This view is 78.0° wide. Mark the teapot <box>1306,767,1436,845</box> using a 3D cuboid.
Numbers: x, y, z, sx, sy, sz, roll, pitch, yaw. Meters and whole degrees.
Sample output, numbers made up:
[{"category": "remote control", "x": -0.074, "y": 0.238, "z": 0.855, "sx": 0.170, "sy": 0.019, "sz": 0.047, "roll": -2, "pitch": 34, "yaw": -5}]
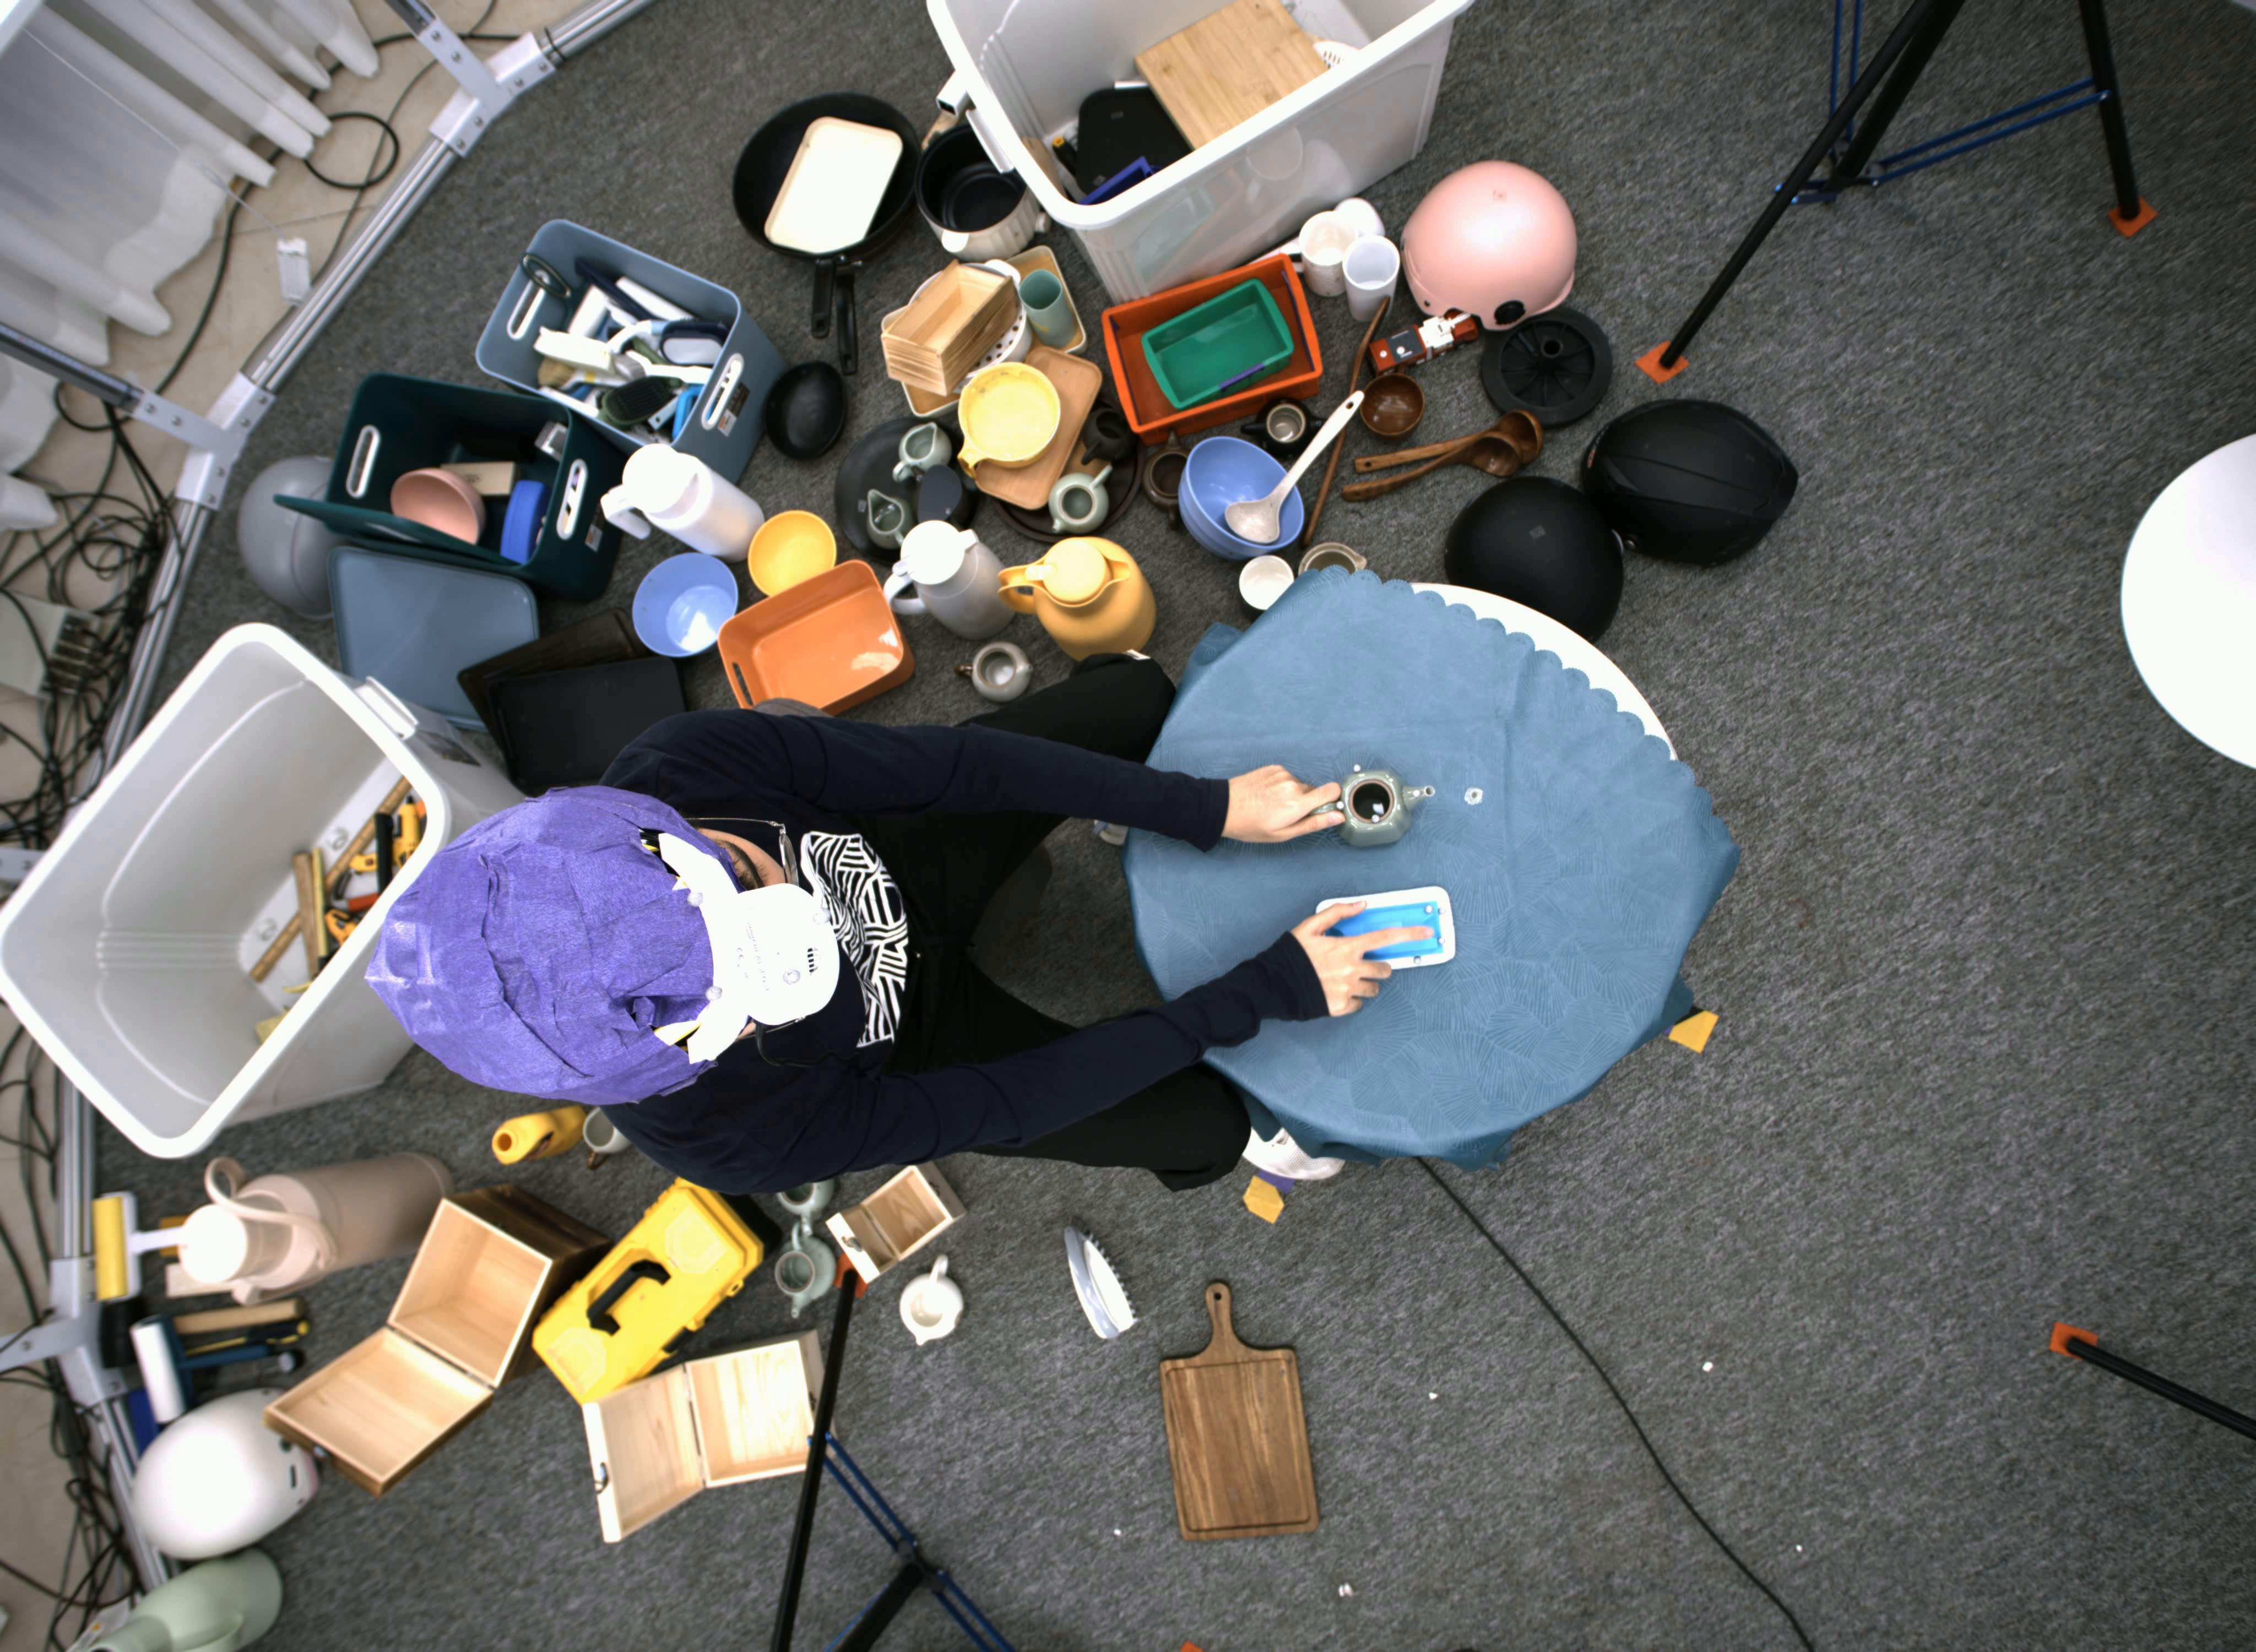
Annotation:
[{"category": "teapot", "x": 0.252, "y": -0.024, "z": 1.430, "sx": 0.133, "sy": 0.075, "sz": 0.079, "roll": -9, "pitch": 84, "yaw": 11}]

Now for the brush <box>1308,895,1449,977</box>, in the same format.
[{"category": "brush", "x": 0.259, "y": 0.109, "z": 1.428, "sx": 0.144, "sy": 0.056, "sz": 0.083, "roll": -5, "pitch": 82, "yaw": 7}]
